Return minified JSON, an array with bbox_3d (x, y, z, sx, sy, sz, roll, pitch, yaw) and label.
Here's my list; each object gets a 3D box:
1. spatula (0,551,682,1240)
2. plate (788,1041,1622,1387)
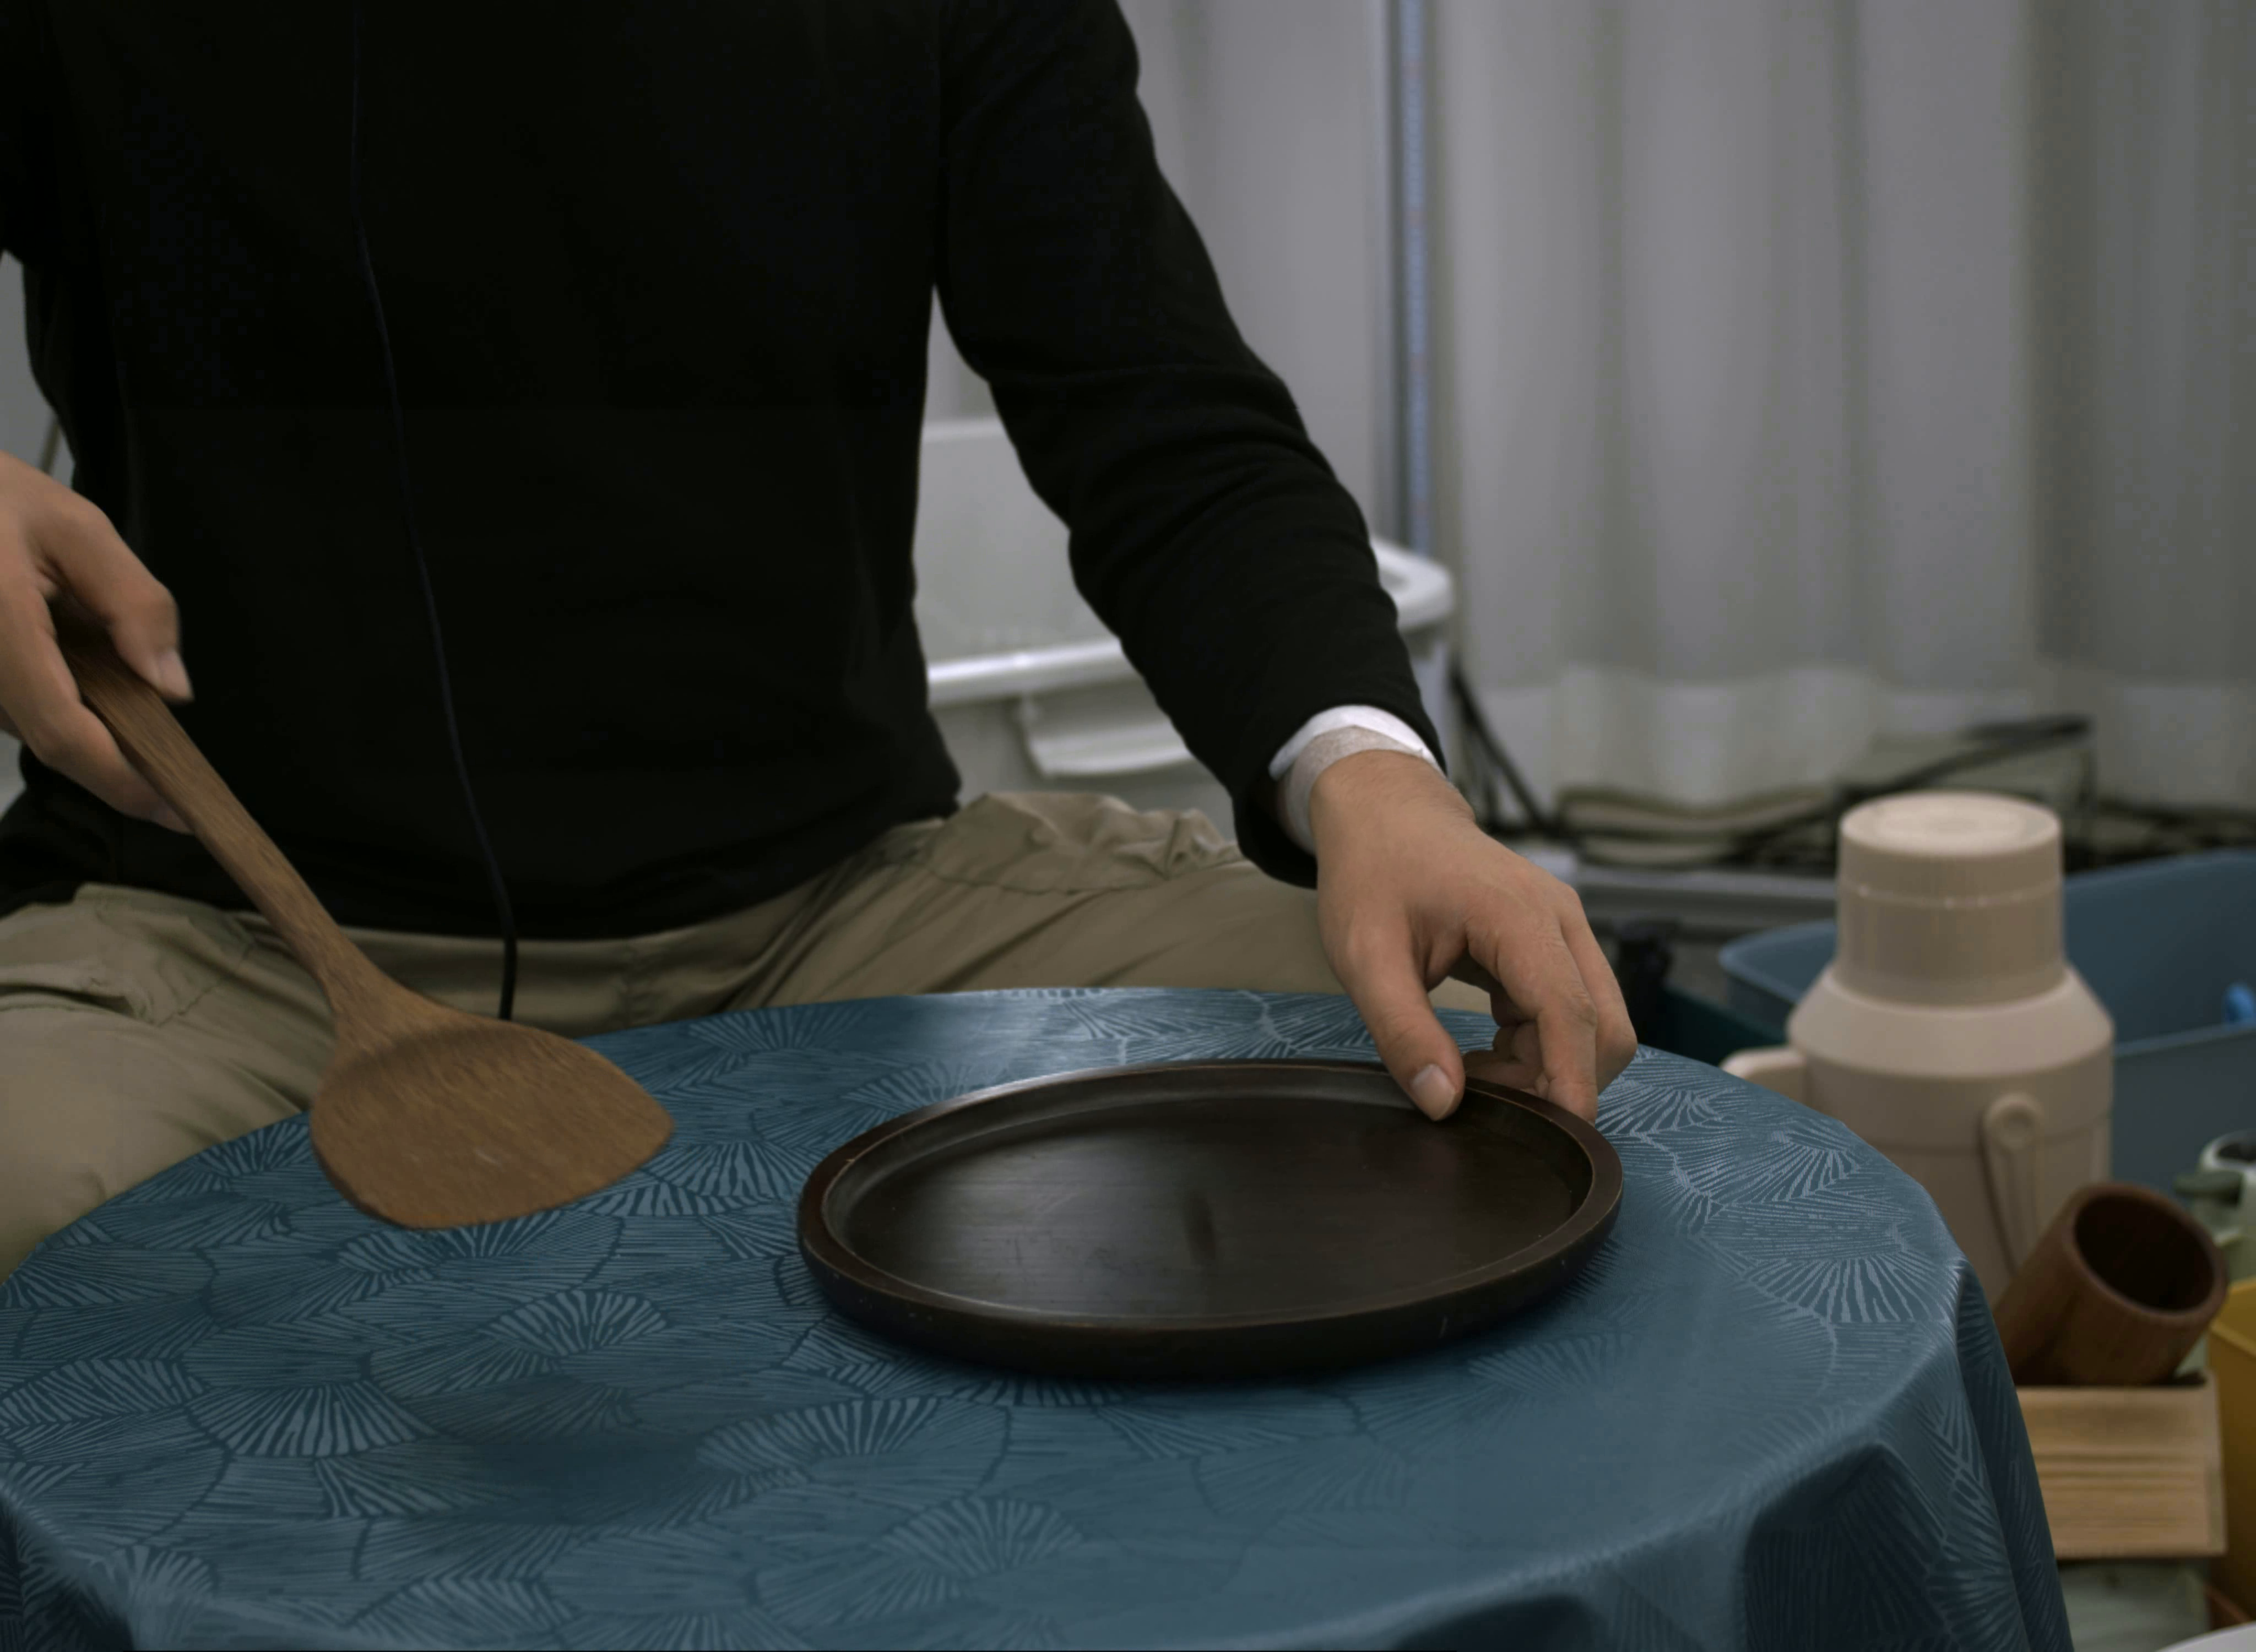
[{"bbox_3d":[-0.259,0.010,1.622,0.096,0.015,0.391,-18,40,-28],"label":"spatula"},{"bbox_3d":[0.024,0.117,1.653,0.254,0.029,0.256,-4,15,1],"label":"plate"}]
